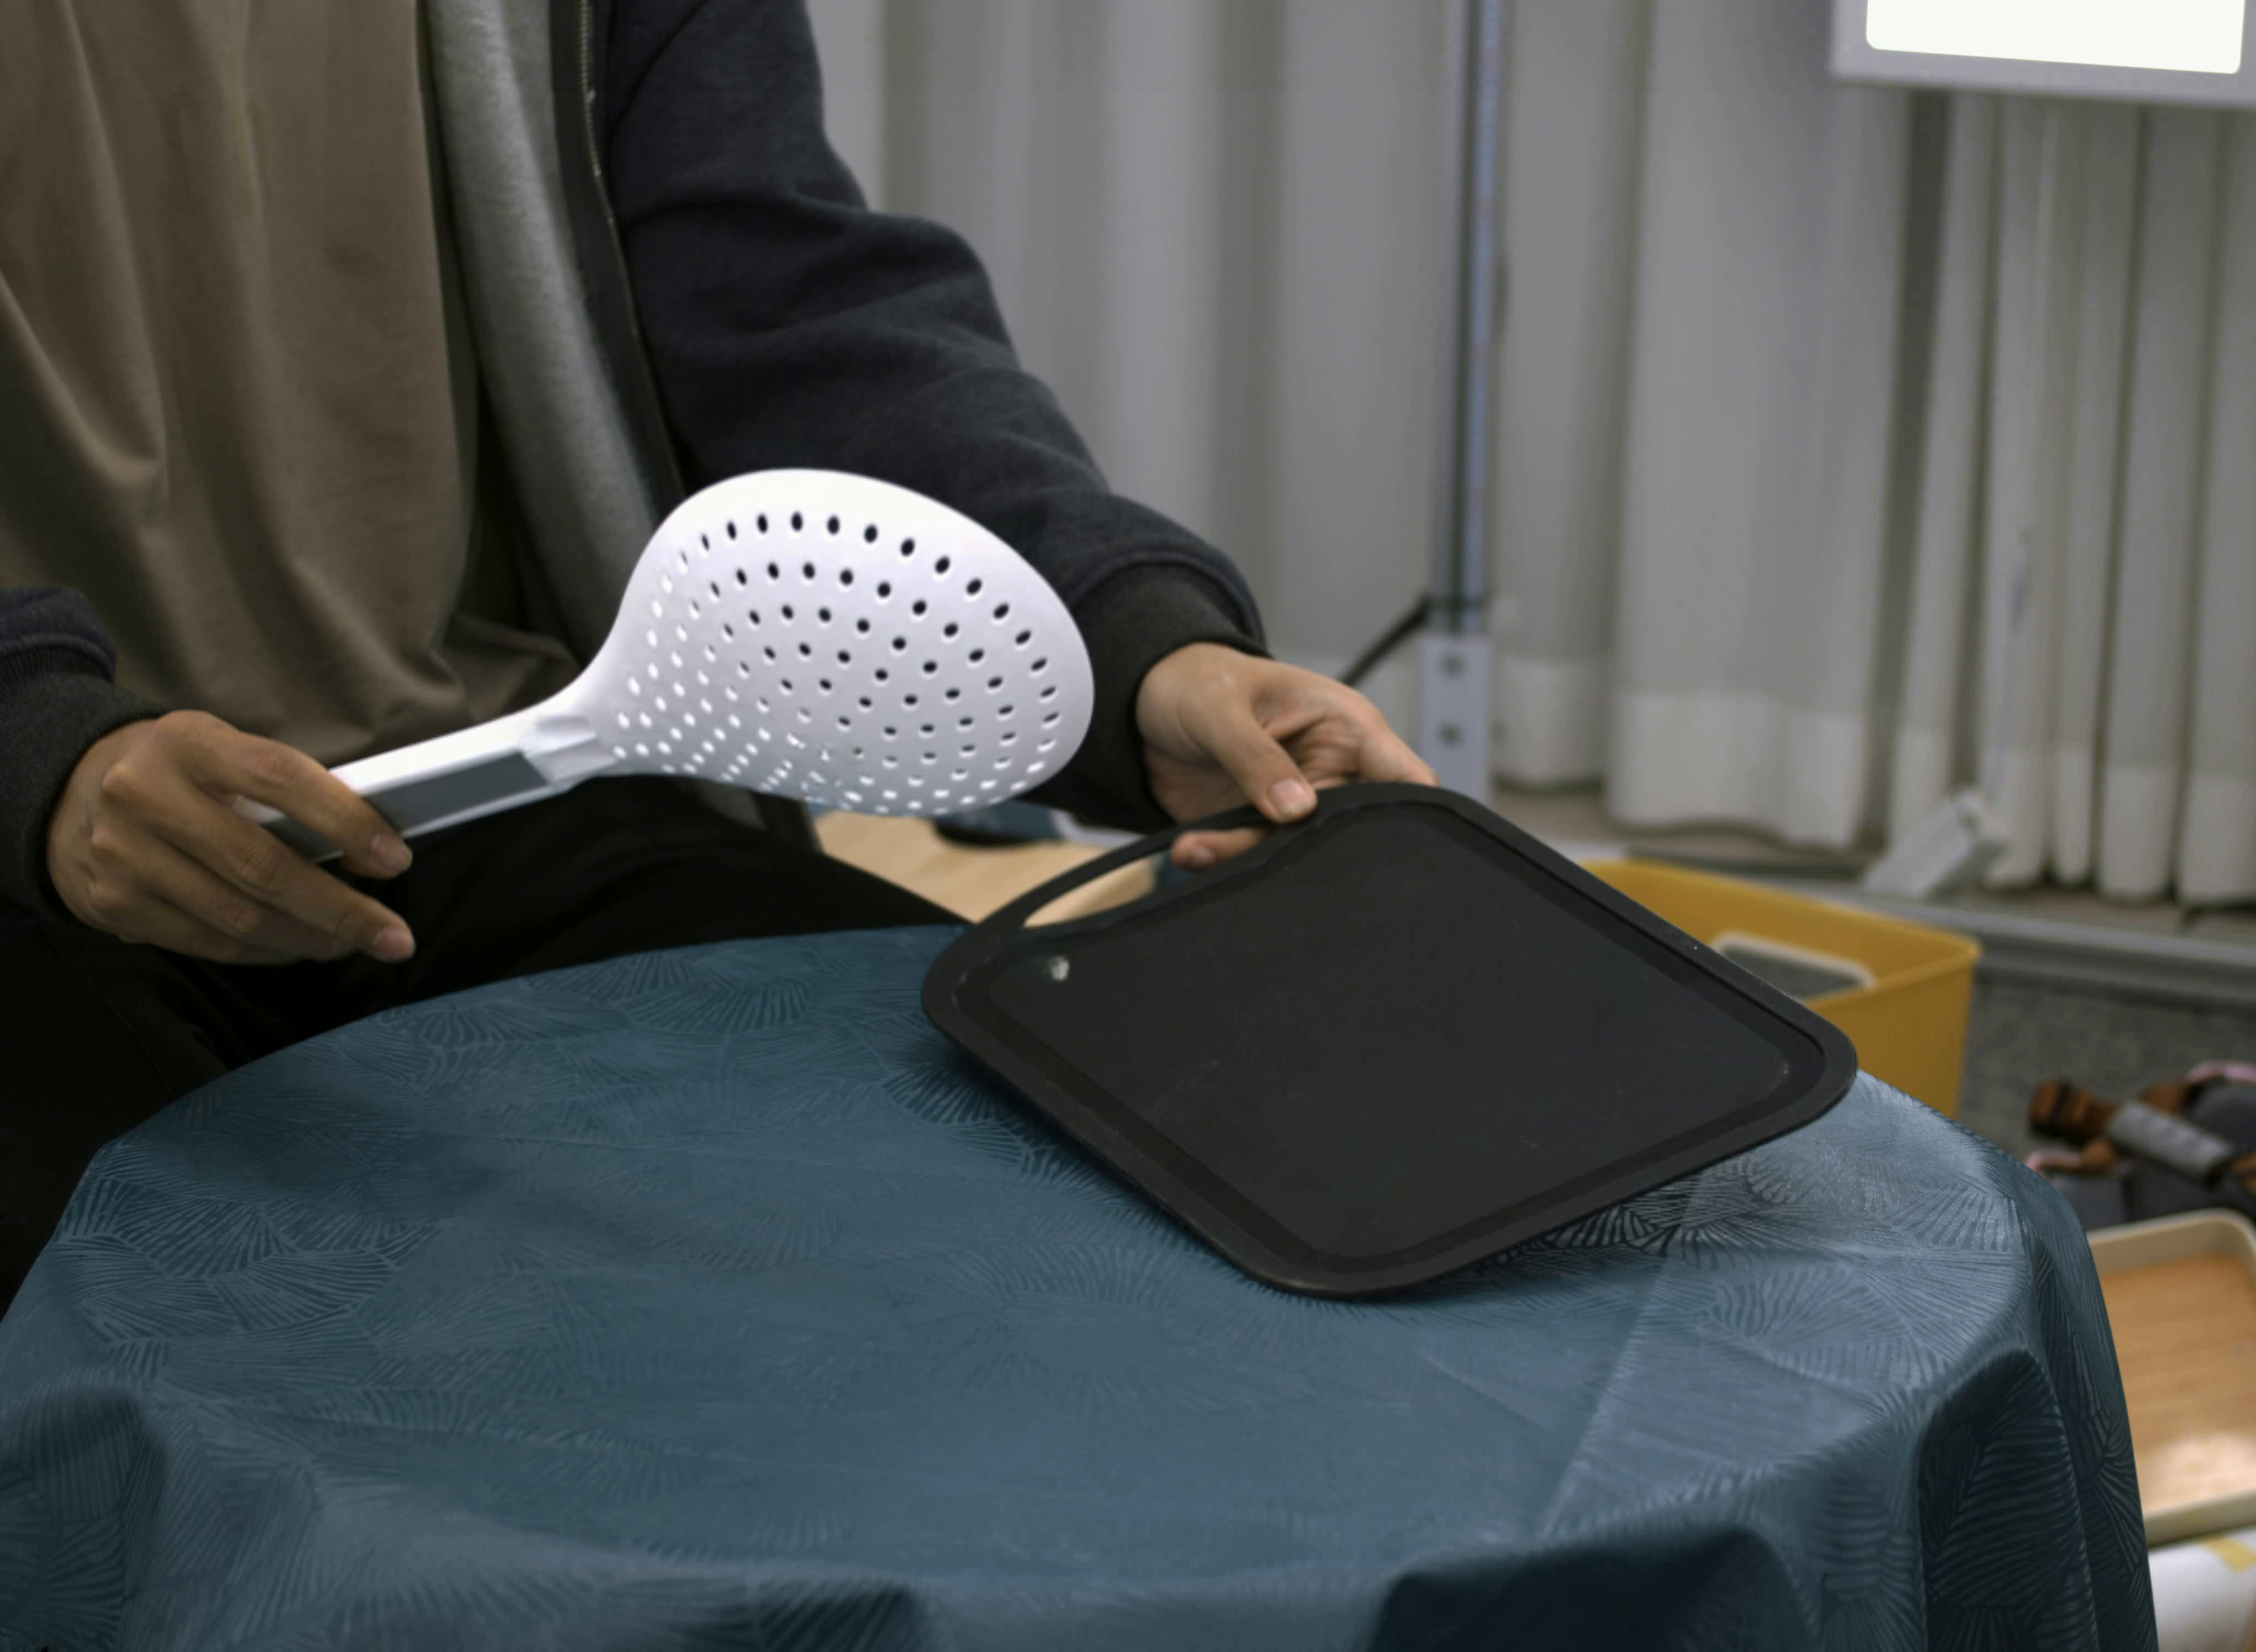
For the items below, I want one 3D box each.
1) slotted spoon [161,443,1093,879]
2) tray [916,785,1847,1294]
[{"bbox_3d":[-0.162,-0.031,1.566,0.346,0.138,0.045,-11,40,38],"label":"slotted spoon"},{"bbox_3d":[0.069,0.058,1.683,0.211,0.010,0.321,-20,28,-21],"label":"tray"}]
